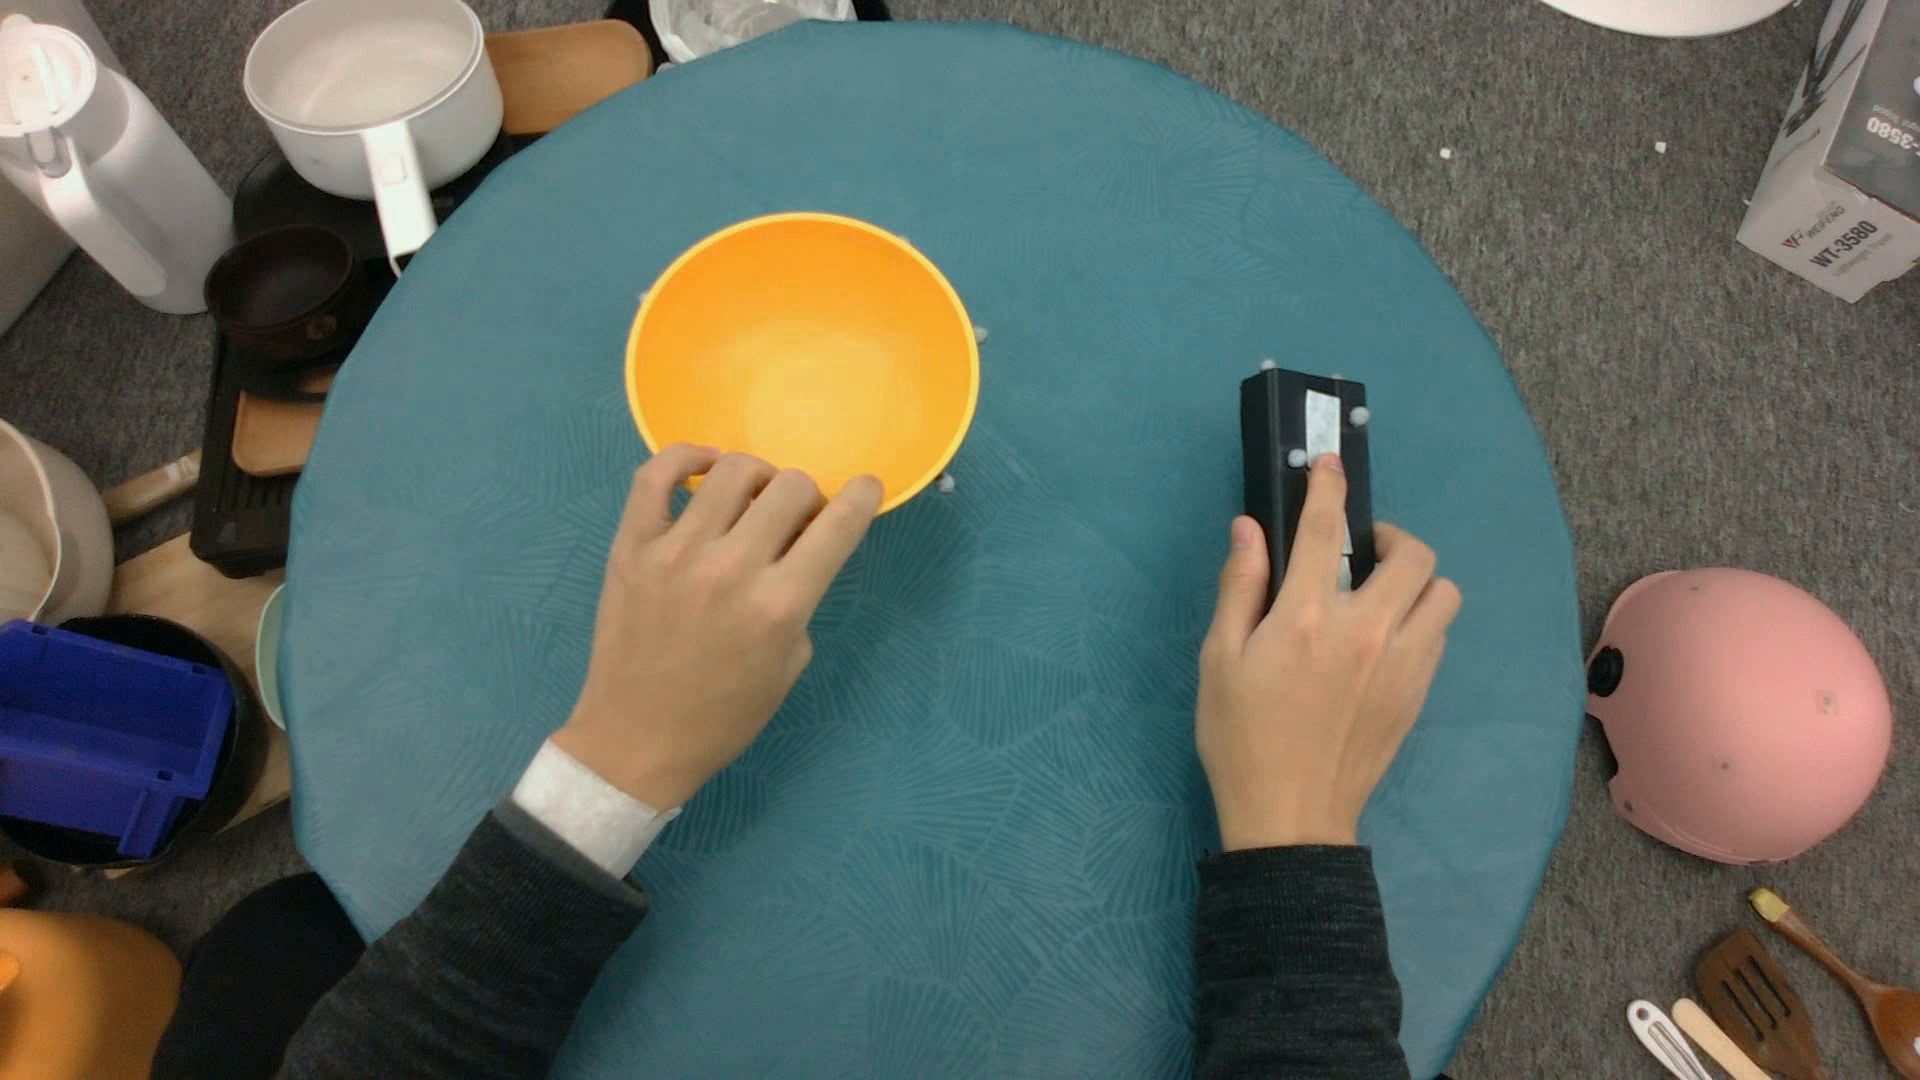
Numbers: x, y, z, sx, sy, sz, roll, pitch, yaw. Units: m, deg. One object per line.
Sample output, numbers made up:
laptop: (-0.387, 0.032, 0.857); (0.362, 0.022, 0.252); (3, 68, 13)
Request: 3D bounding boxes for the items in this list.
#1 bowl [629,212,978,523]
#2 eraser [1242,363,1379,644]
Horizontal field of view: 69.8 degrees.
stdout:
bowl: (-0.066, -0.066, 0.598); (0.145, 0.060, 0.146); (1, 69, -3)
eraser: (0.156, -0.017, 0.616); (0.053, 0.030, 0.126); (6, 73, -14)
